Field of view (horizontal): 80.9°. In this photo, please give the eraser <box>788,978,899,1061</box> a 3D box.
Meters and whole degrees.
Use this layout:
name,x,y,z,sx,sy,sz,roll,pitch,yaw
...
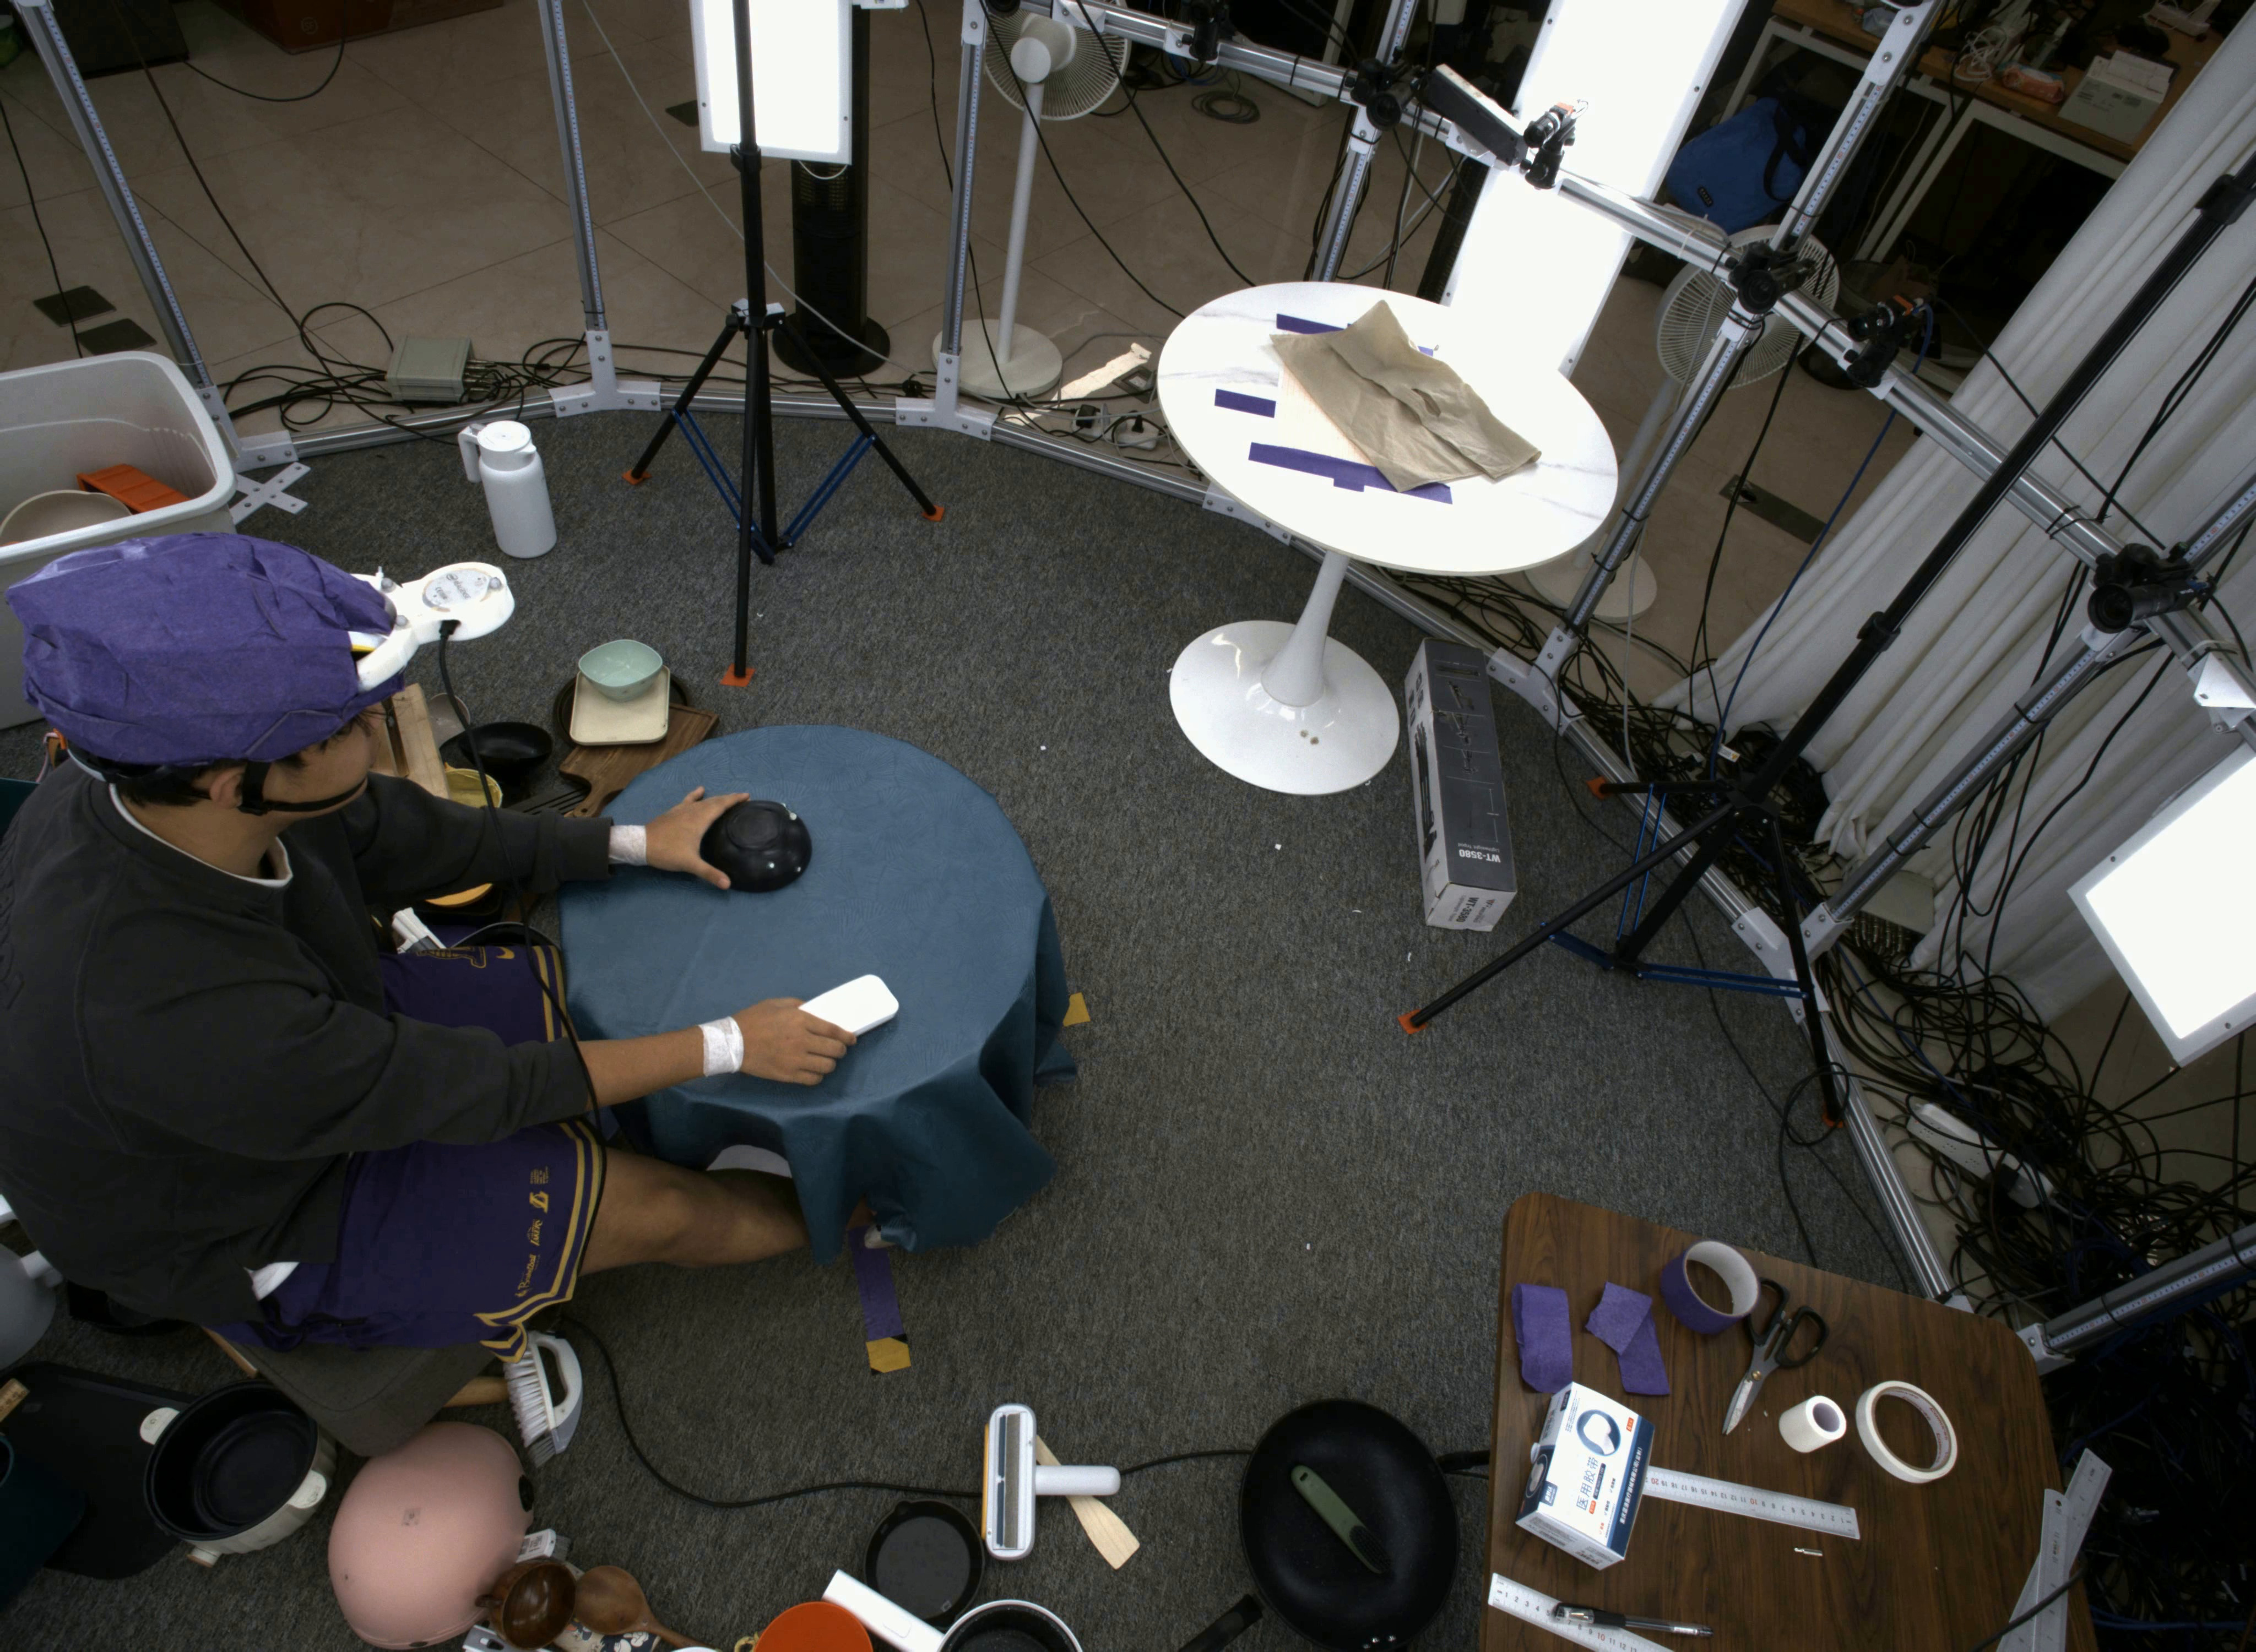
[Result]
name,x,y,z,sx,sy,sz,roll,pitch,yaw
eraser,-0.341,0.226,1.552,0.132,0.035,0.062,-23,62,-36

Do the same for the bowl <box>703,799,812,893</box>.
name,x,y,z,sx,sy,sz,roll,pitch,yaw
bowl,-0.480,0.014,1.671,0.140,0.050,0.137,9,53,-10
